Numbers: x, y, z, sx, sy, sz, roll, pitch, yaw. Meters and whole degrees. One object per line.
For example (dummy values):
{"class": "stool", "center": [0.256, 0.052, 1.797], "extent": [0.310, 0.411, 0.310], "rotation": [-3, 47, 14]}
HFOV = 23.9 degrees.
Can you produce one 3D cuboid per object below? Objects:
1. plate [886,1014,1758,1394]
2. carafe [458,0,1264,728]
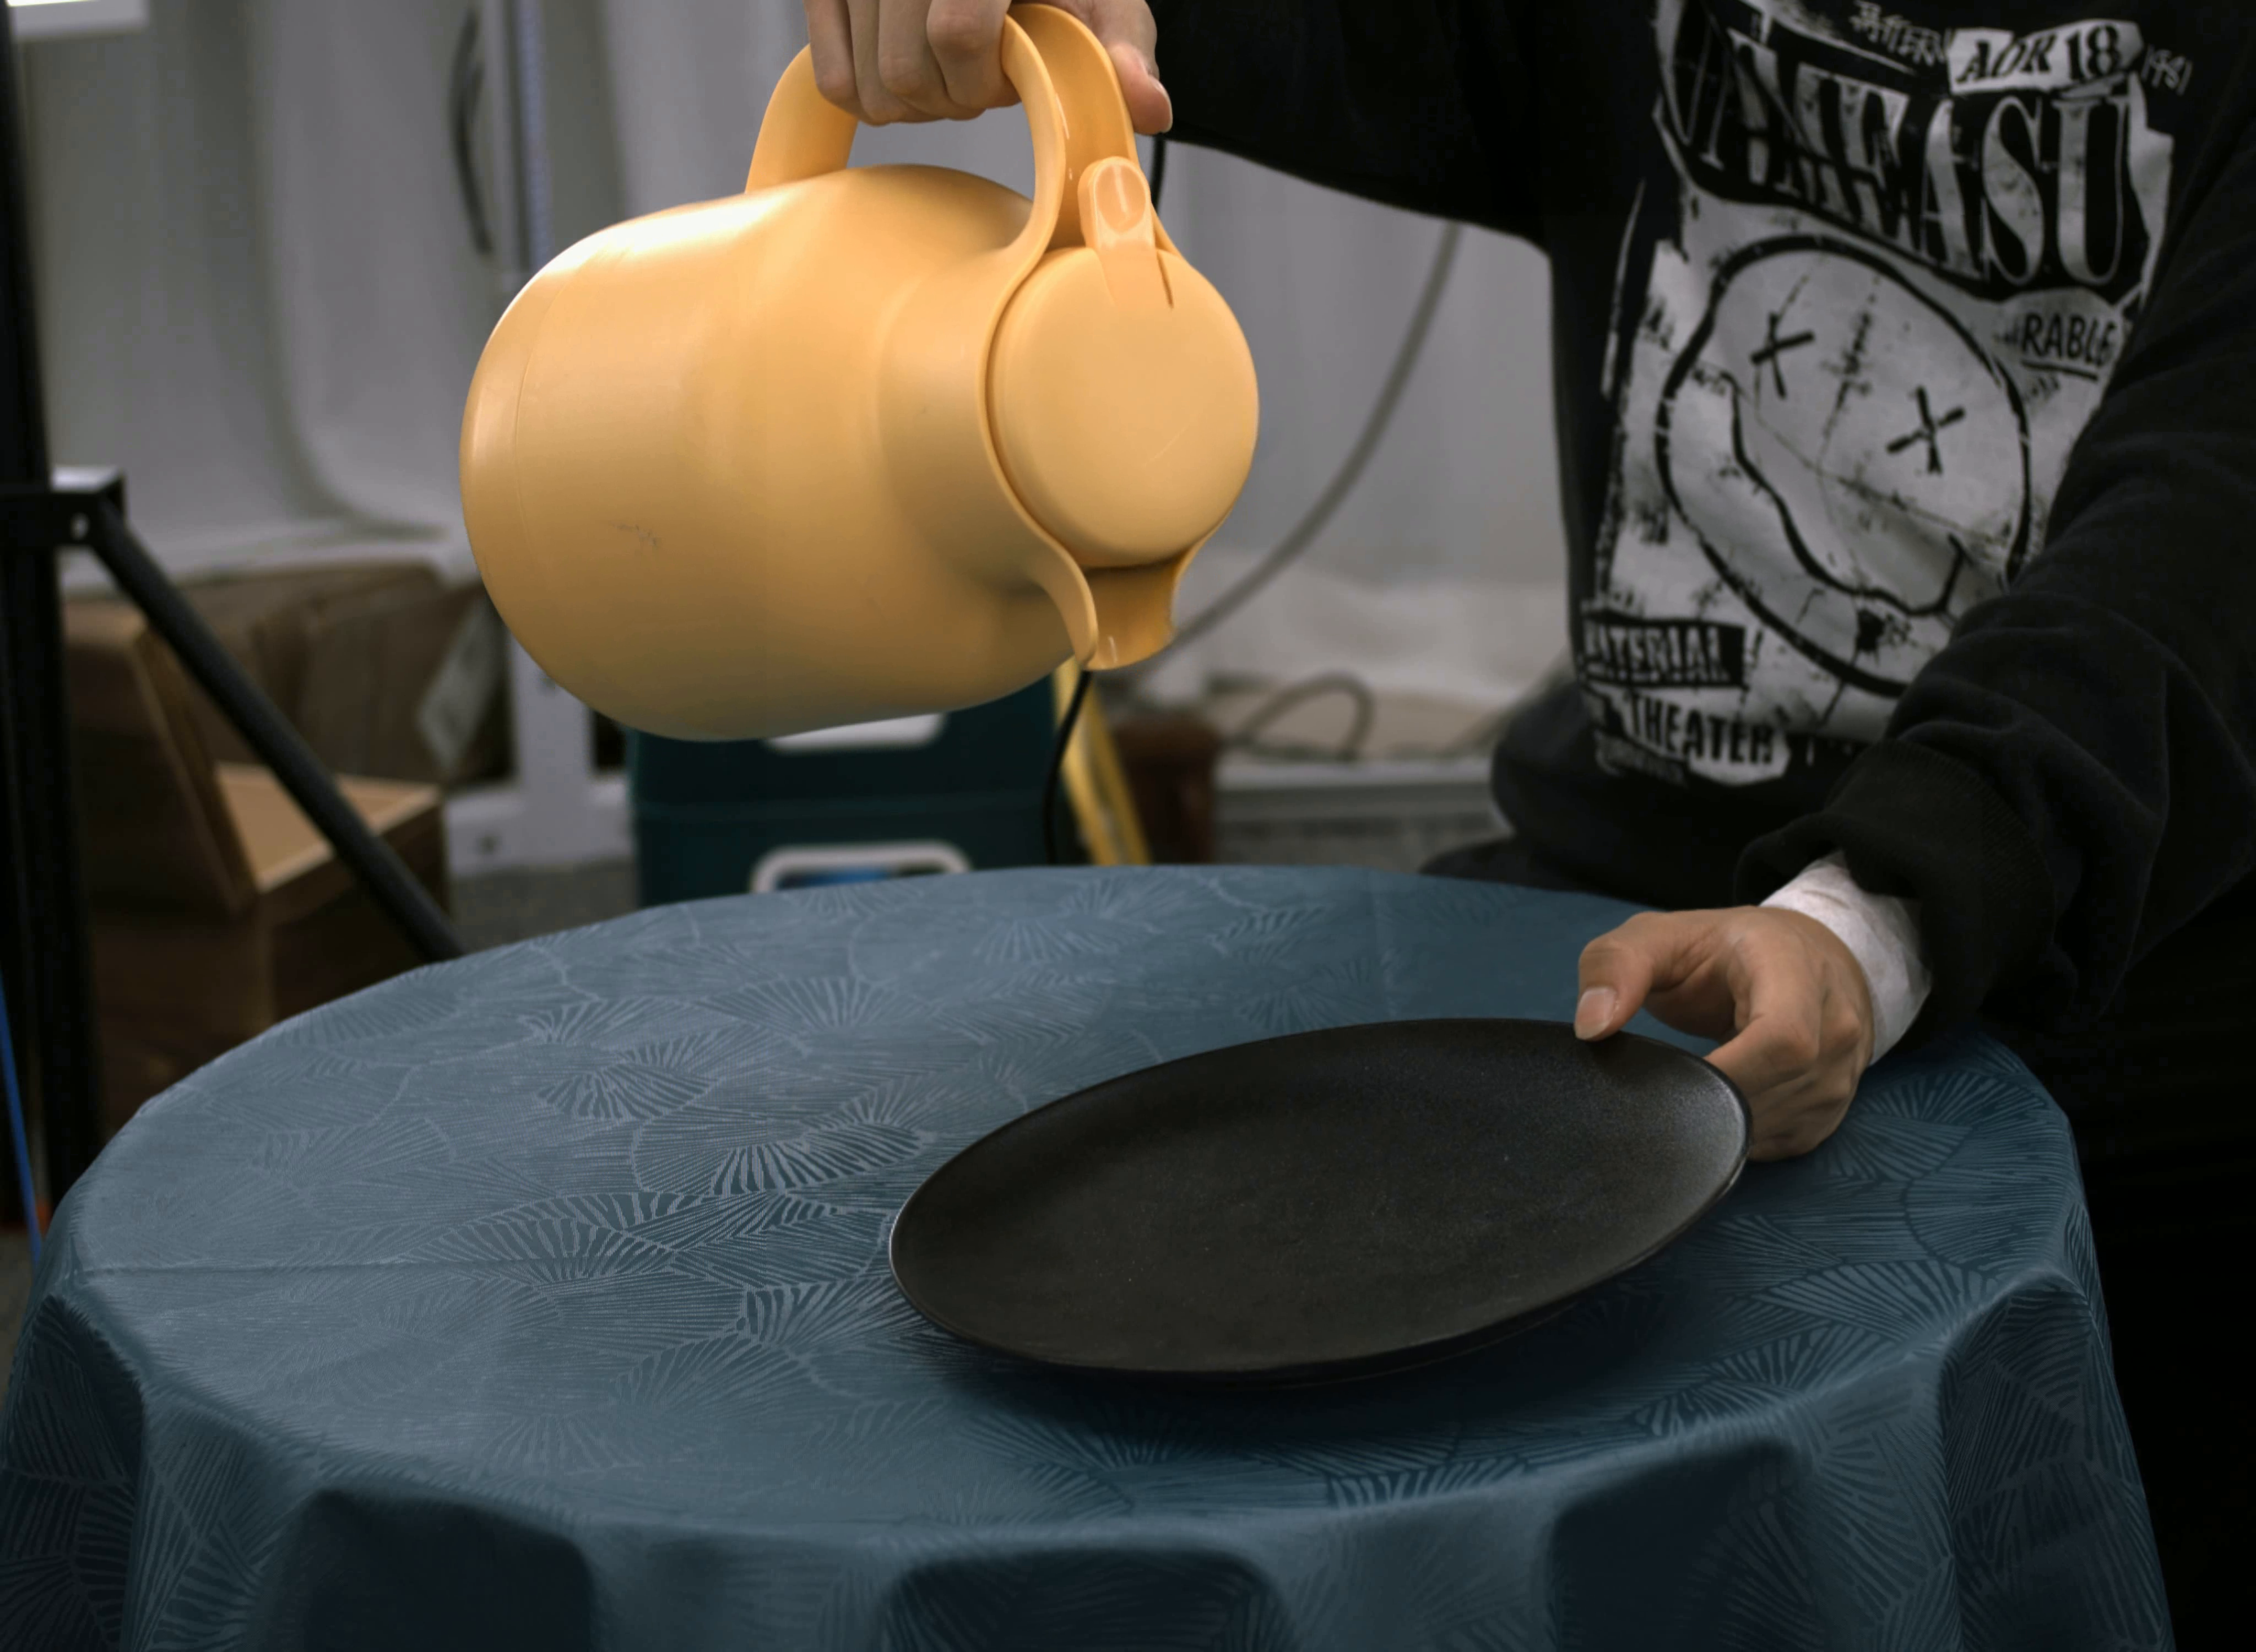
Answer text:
{"class": "plate", "center": [0.054, 0.108, 1.462], "extent": [0.243, 0.023, 0.246], "rotation": [-10, 18, 2]}
{"class": "carafe", "center": [-0.071, -0.133, 1.557], "extent": [0.159, 0.203, 0.266], "rotation": [1, -2, -38]}
